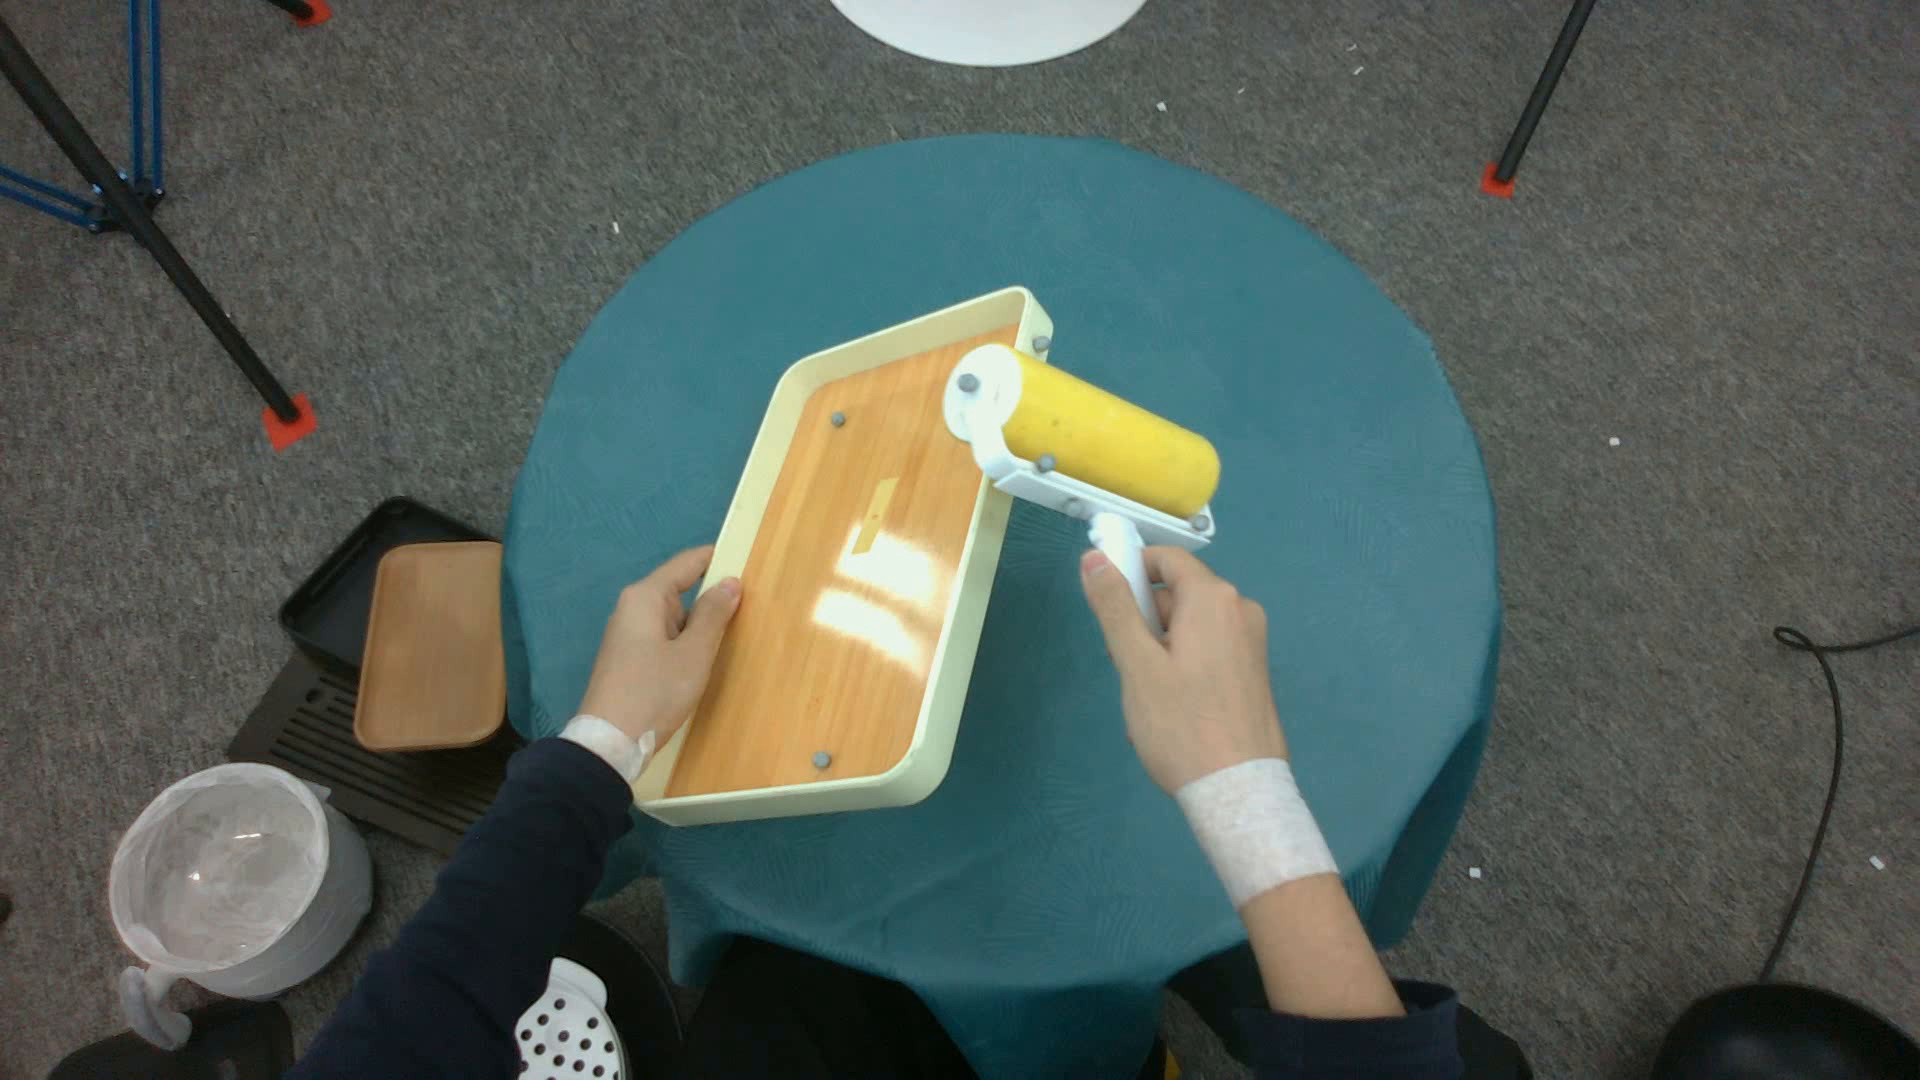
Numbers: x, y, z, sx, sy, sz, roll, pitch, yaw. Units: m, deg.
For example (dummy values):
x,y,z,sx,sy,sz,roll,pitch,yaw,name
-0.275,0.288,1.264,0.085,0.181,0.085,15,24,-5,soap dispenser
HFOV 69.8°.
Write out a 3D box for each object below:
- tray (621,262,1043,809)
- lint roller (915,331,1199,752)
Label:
x,y,z,sx,sy,sz,roll,pitch,yaw,name
-0.062,-0.007,0.720,0.191,0.027,0.301,-13,49,36,tray
0.075,0.001,0.629,0.174,0.051,0.192,13,44,-46,lint roller
